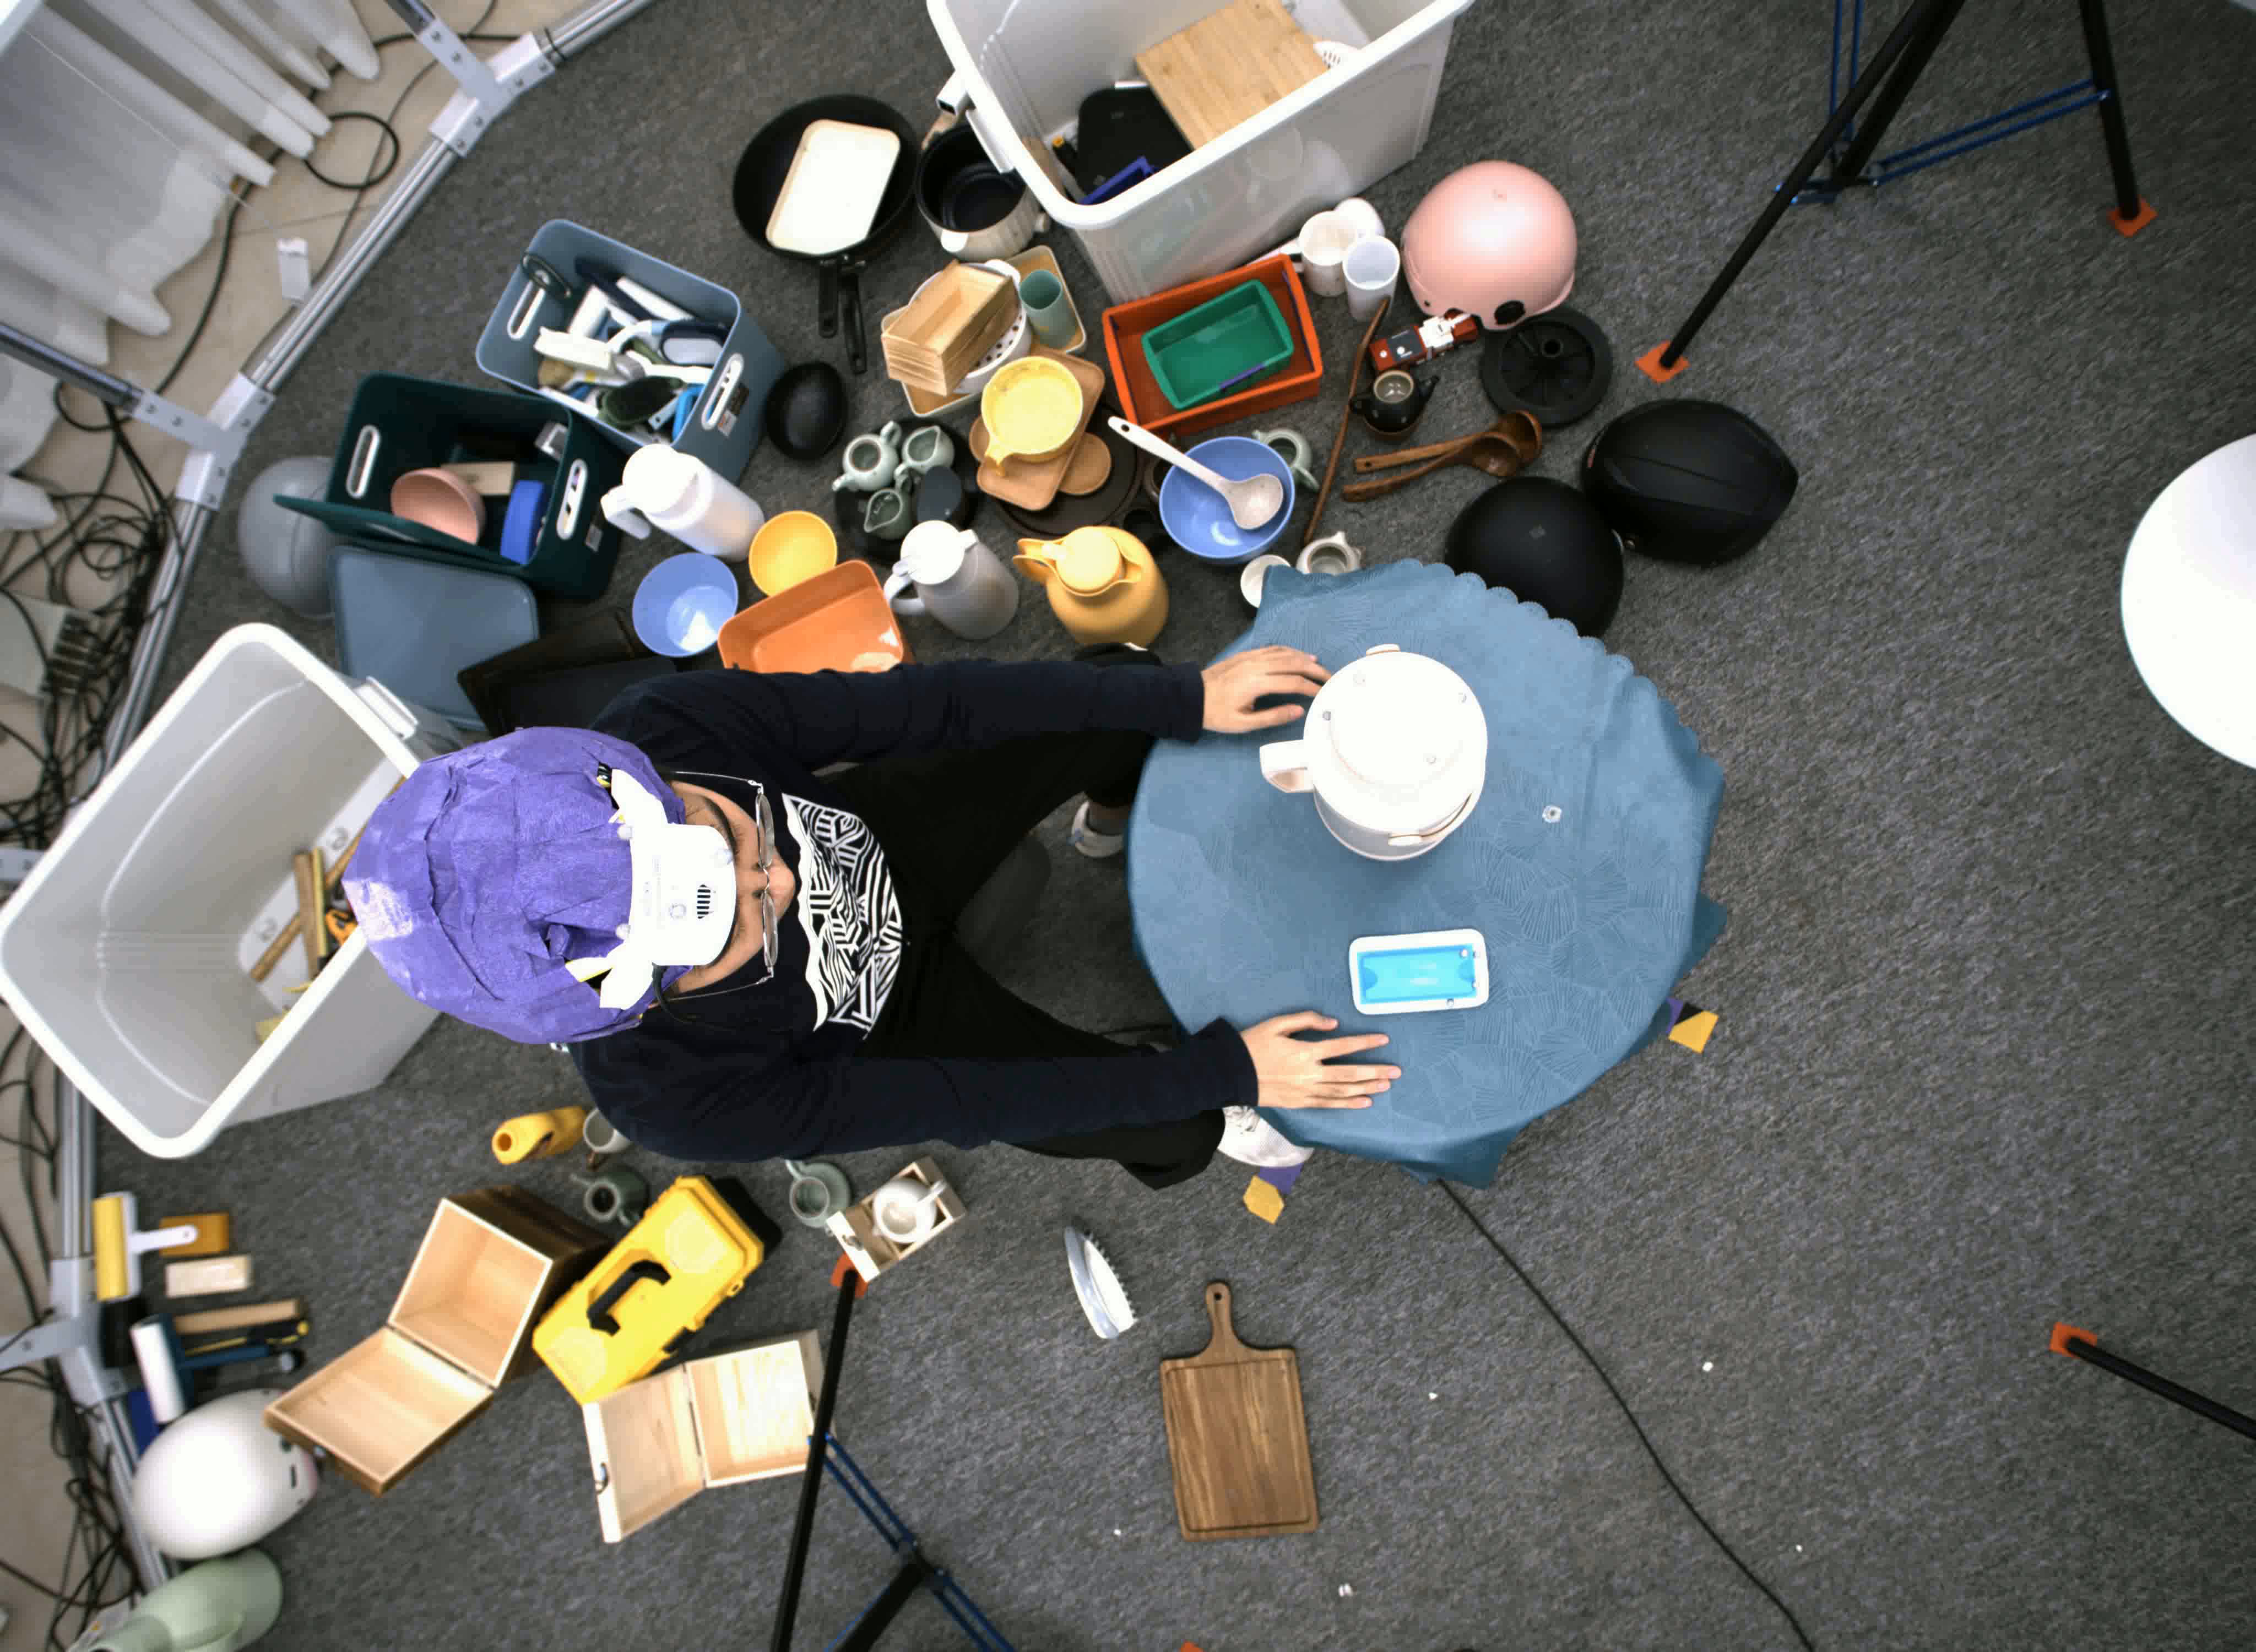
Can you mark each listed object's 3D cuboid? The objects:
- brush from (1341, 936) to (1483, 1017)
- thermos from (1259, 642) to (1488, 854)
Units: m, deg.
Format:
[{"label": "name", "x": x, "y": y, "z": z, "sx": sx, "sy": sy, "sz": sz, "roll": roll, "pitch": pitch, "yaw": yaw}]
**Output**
[{"label": "brush", "x": 0.292, "y": 0.151, "z": 1.419, "sx": 0.144, "sy": 0.056, "sz": 0.083, "roll": -3, "pitch": 83, "yaw": 8}, {"label": "thermos", "x": 0.231, "y": -0.066, "z": 1.272, "sx": 0.208, "sy": 0.406, "sz": 0.174, "roll": -7, "pitch": 85, "yaw": 10}]
